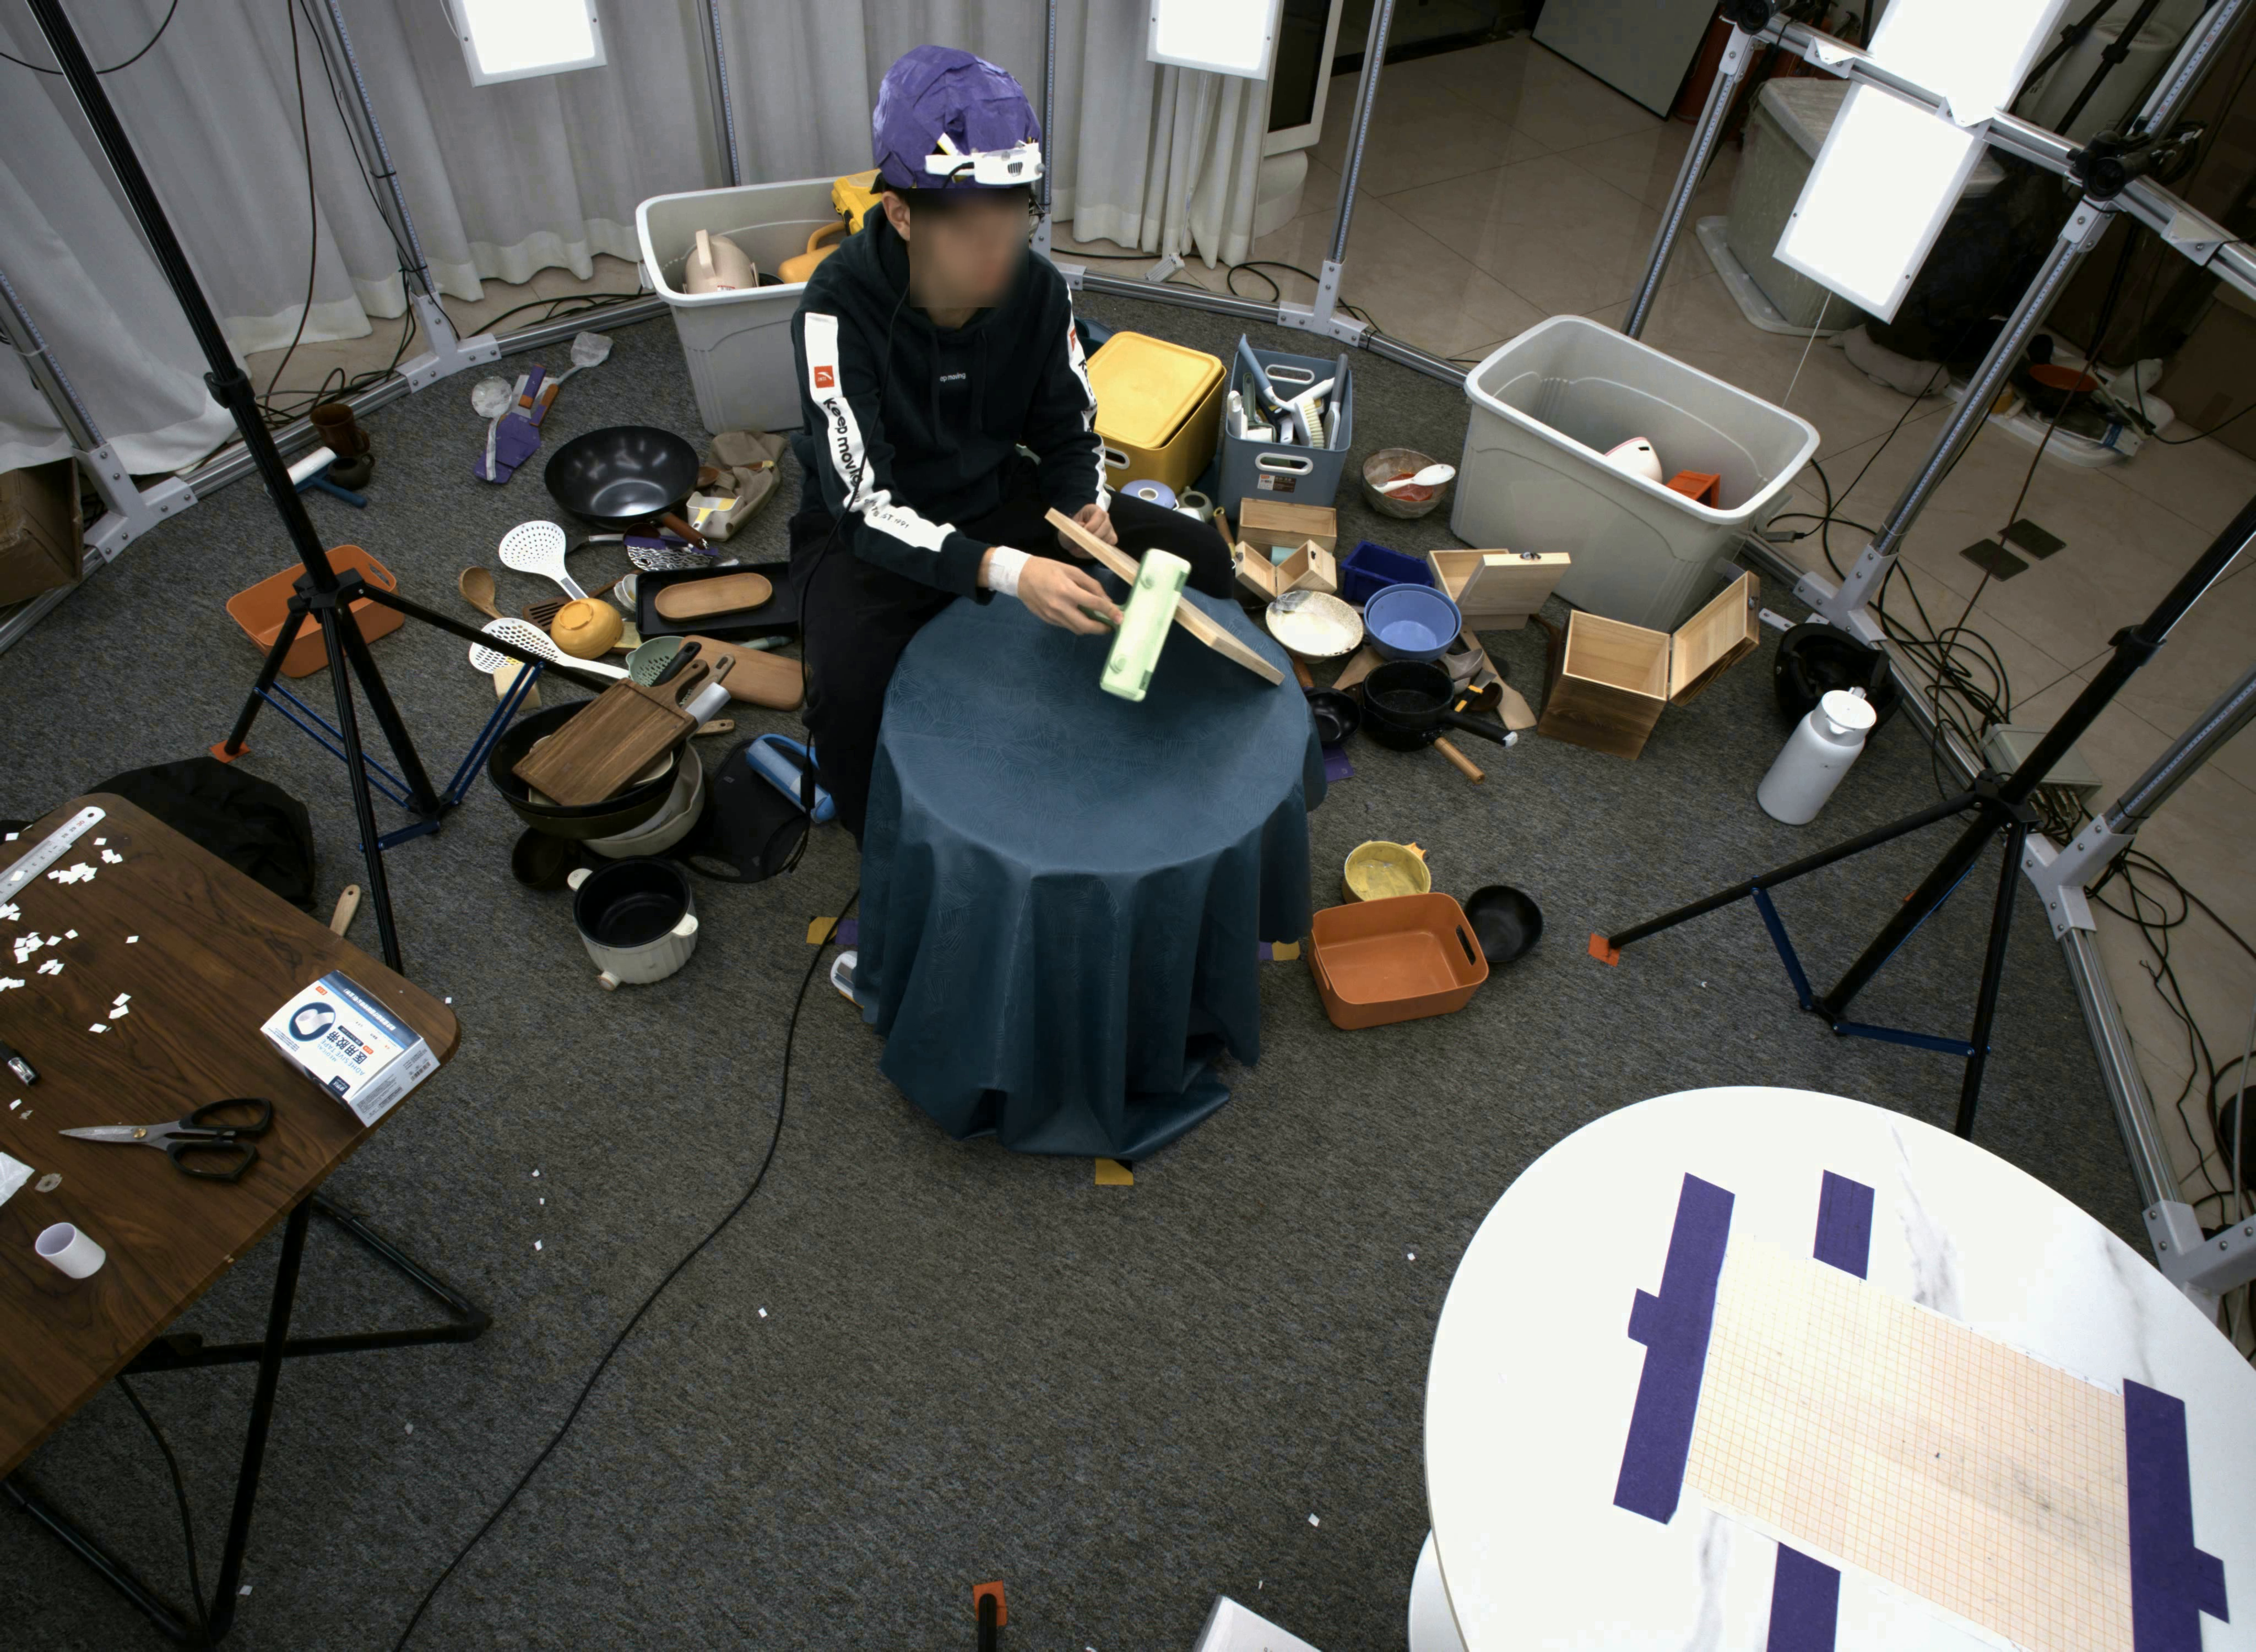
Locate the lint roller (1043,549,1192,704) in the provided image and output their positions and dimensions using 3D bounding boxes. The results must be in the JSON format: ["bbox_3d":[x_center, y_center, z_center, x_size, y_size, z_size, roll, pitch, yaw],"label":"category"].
[{"bbox_3d":[-0.032,-0.280,1.677,0.184,0.082,0.198,21,91,9],"label":"lint roller"}]

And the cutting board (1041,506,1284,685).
[{"bbox_3d":[0.051,-0.328,1.839,0.354,0.023,0.248,42,13,27],"label":"cutting board"}]
